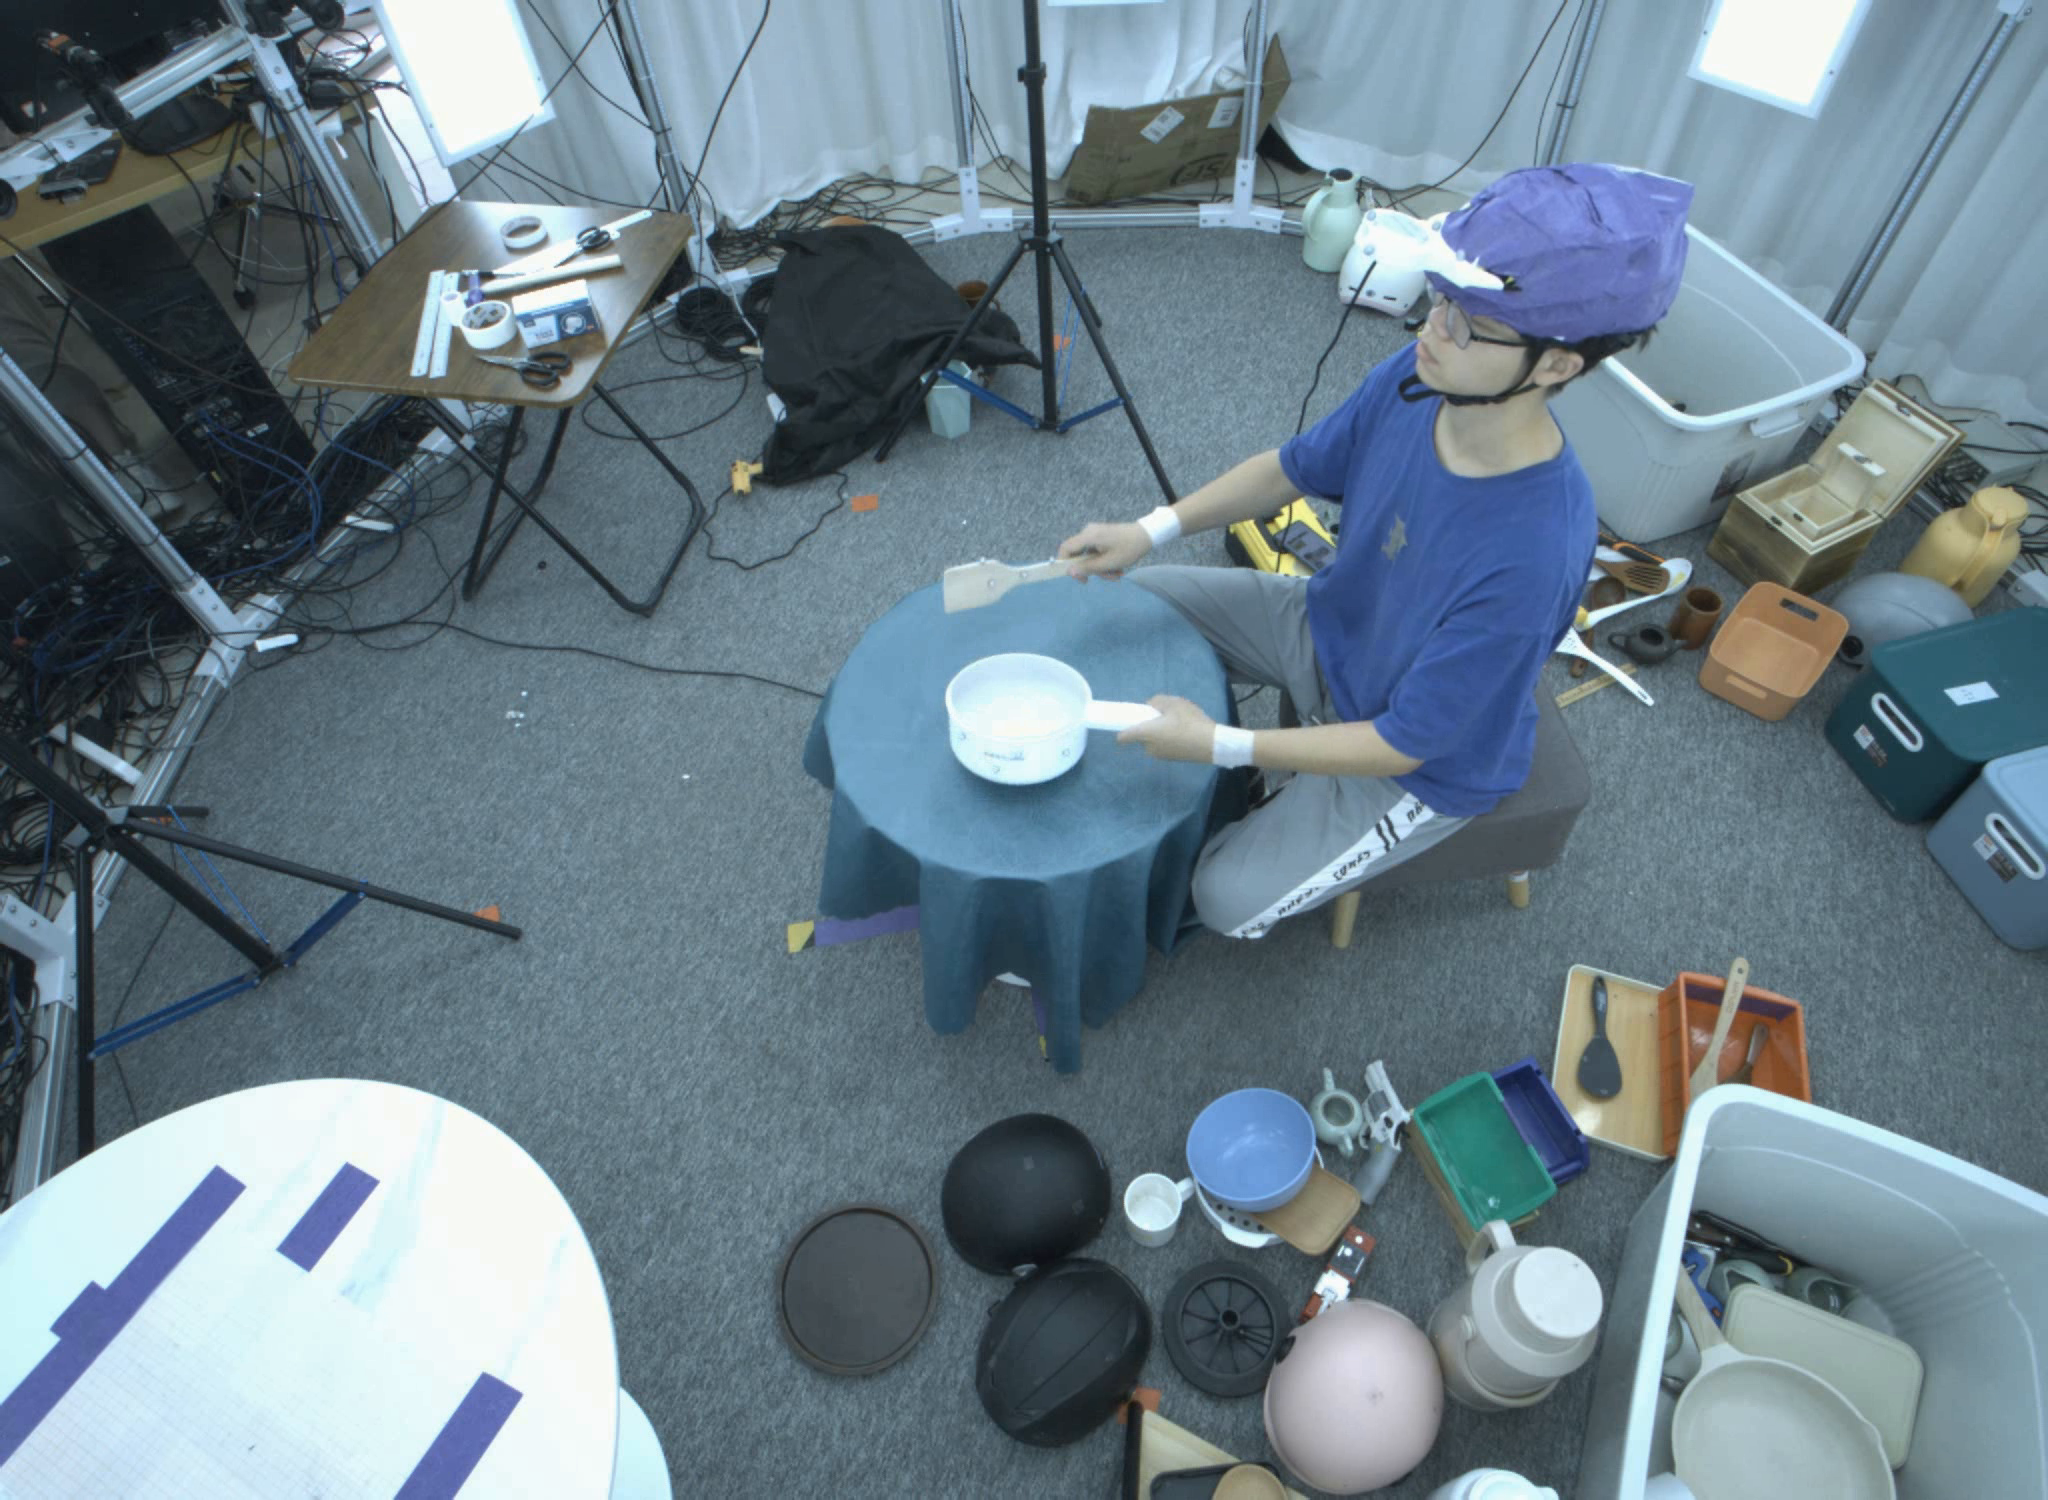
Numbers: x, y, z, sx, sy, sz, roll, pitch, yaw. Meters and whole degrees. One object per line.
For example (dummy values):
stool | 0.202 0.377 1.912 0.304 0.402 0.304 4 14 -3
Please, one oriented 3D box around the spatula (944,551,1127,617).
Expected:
spatula | 0.019 -0.257 1.812 0.296 0.073 0.010 -14 36 -19

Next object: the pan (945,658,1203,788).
pan | 0.068 -0.026 1.710 0.353 0.103 0.200 6 38 6
